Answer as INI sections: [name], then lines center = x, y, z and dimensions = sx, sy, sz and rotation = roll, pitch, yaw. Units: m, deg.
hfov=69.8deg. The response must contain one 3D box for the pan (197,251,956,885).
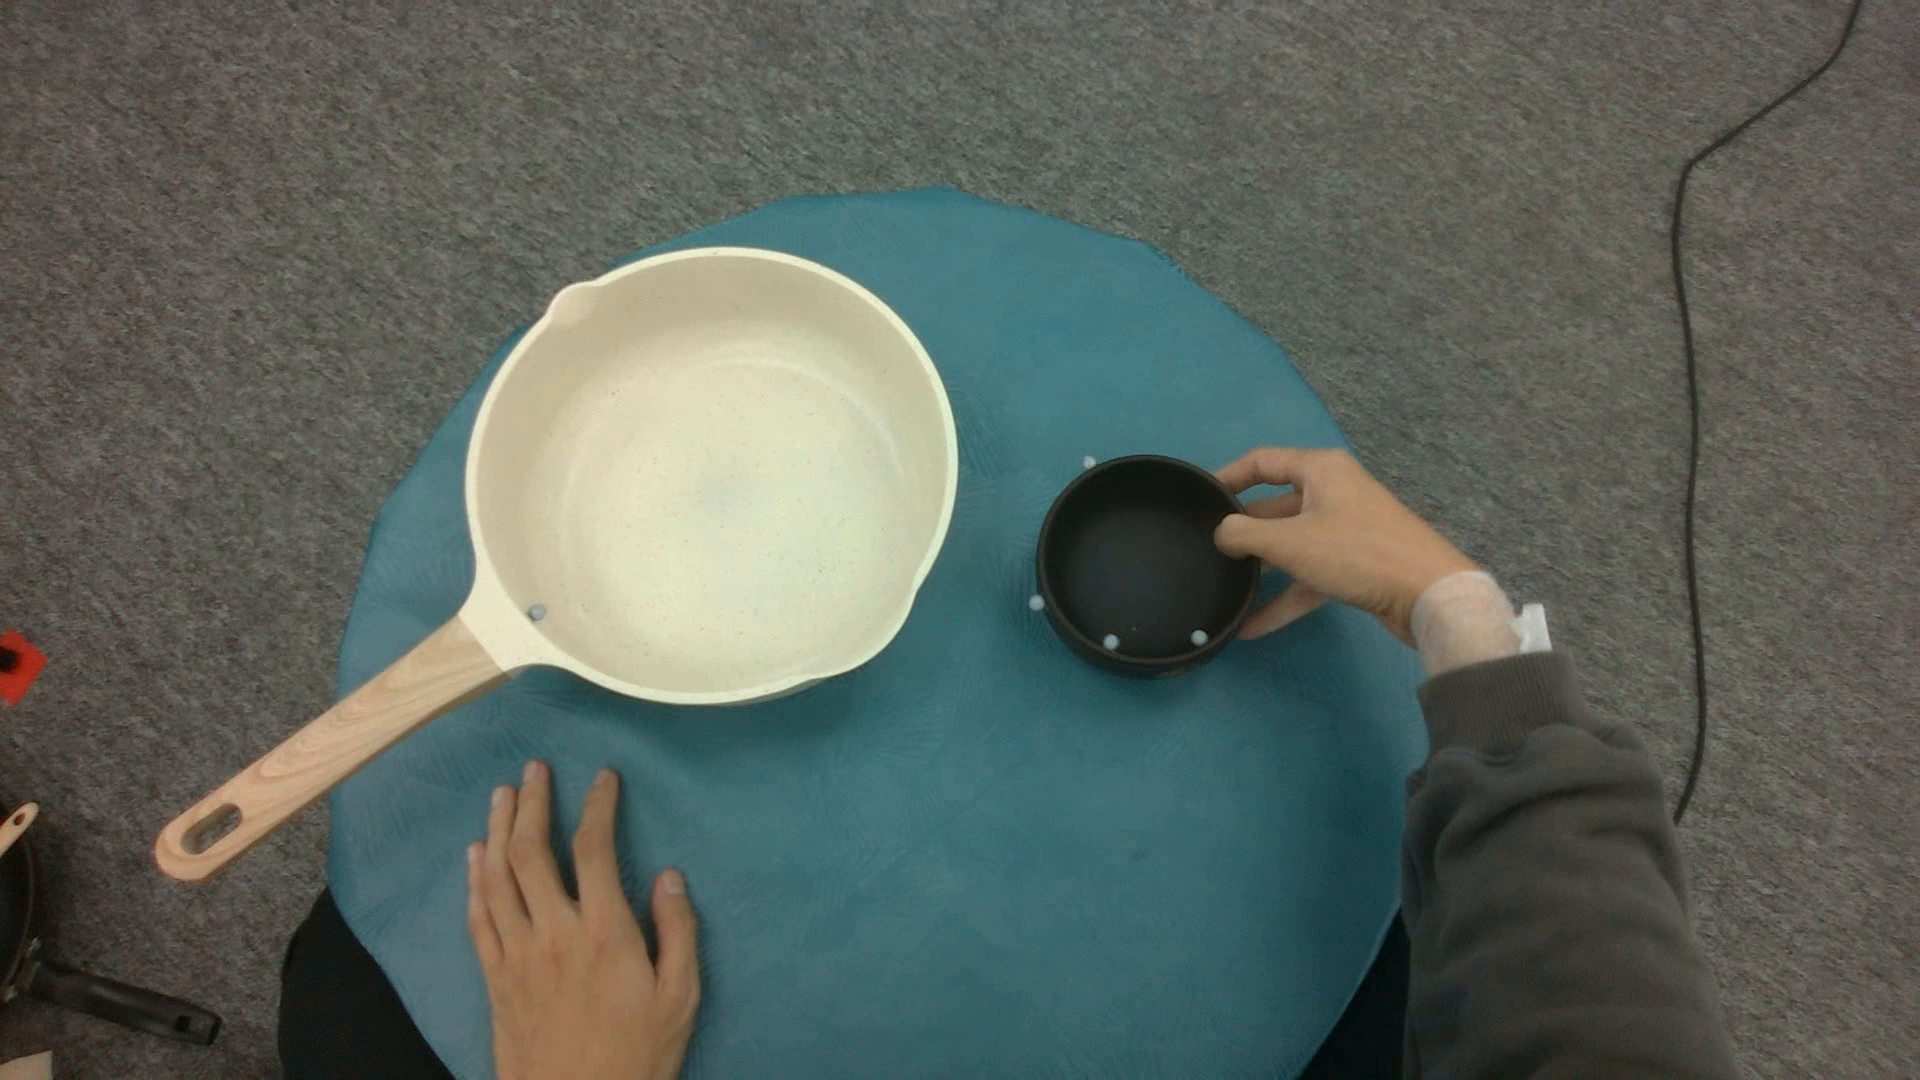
[pan]
center = -0.196, 0.028, 0.736
dimensions = 0.436, 0.101, 0.263
rotation = -40, 78, -11

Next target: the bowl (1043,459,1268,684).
[bowl]
center = 0.103, 0.022, 0.747
dimensions = 0.118, 0.069, 0.118
rotation = -1, 70, 2
